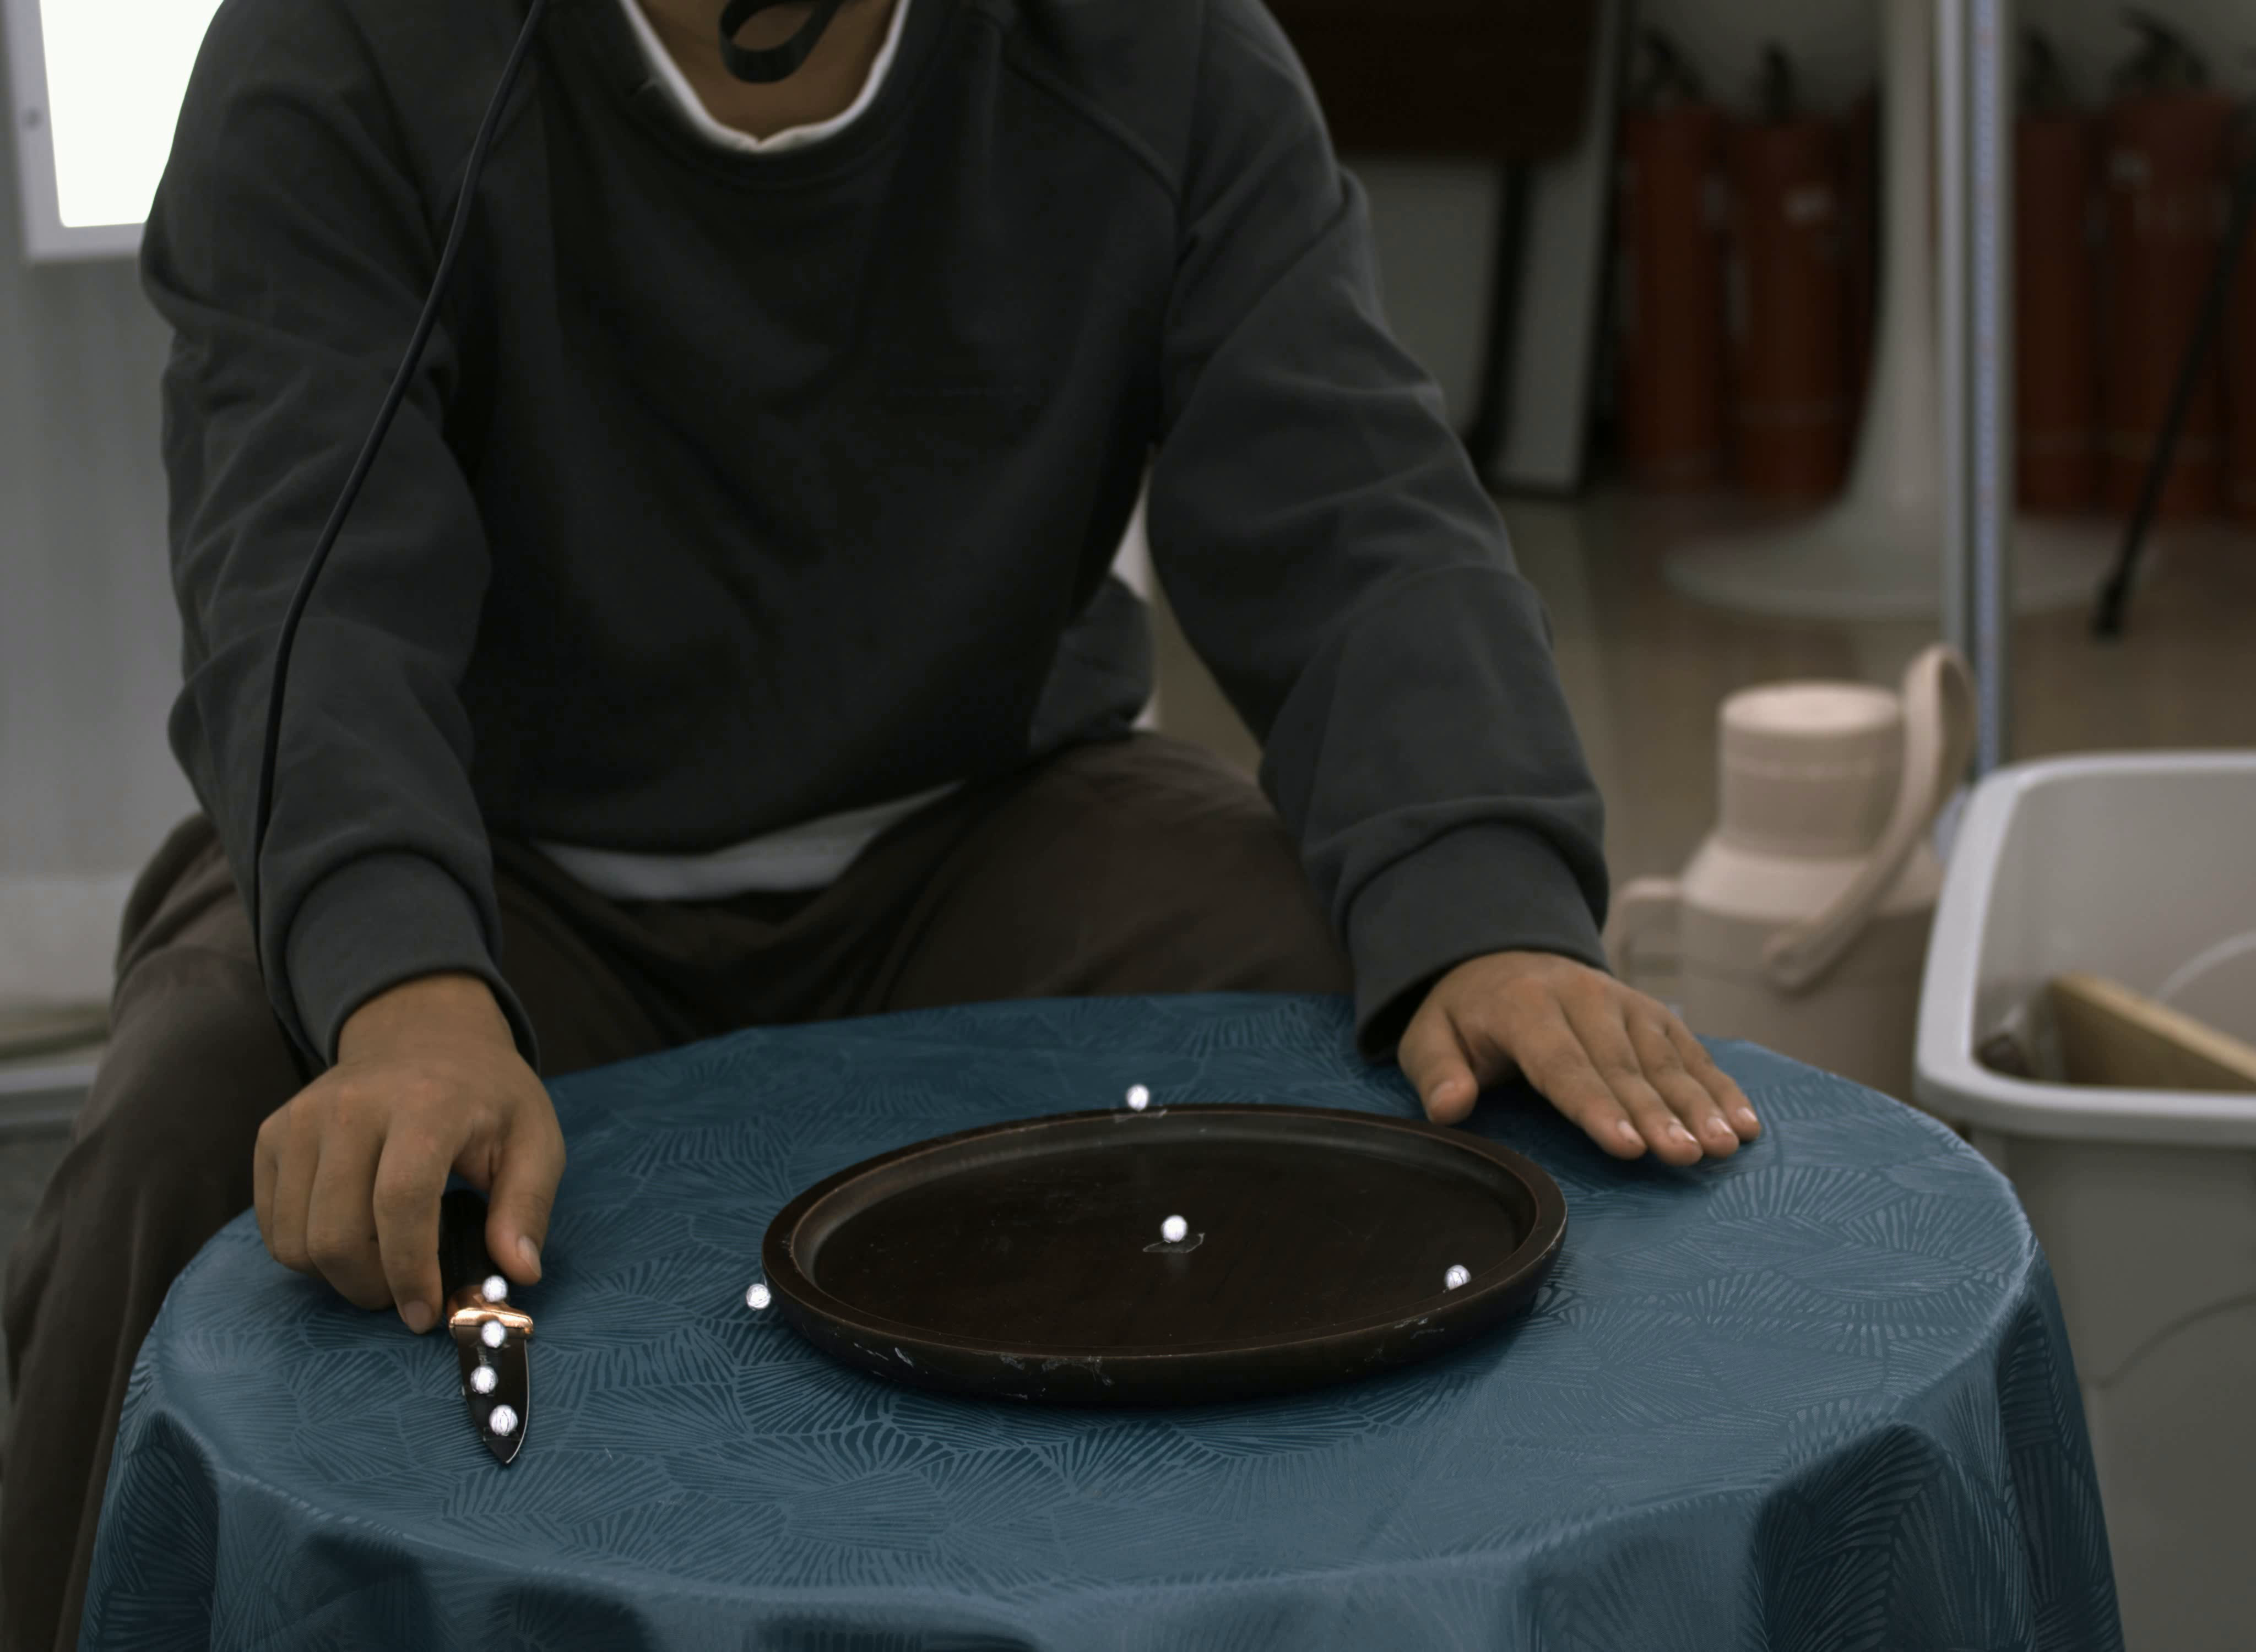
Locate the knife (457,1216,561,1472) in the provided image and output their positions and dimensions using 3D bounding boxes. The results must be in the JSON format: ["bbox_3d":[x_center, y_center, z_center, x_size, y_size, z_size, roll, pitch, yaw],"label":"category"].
[{"bbox_3d":[-0.190,0.158,1.658,0.026,0.017,0.227,4,13,-10],"label":"knife"}]

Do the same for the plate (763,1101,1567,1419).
[{"bbox_3d":[0.012,0.133,1.676,0.251,0.029,0.255,-5,13,0],"label":"plate"}]
